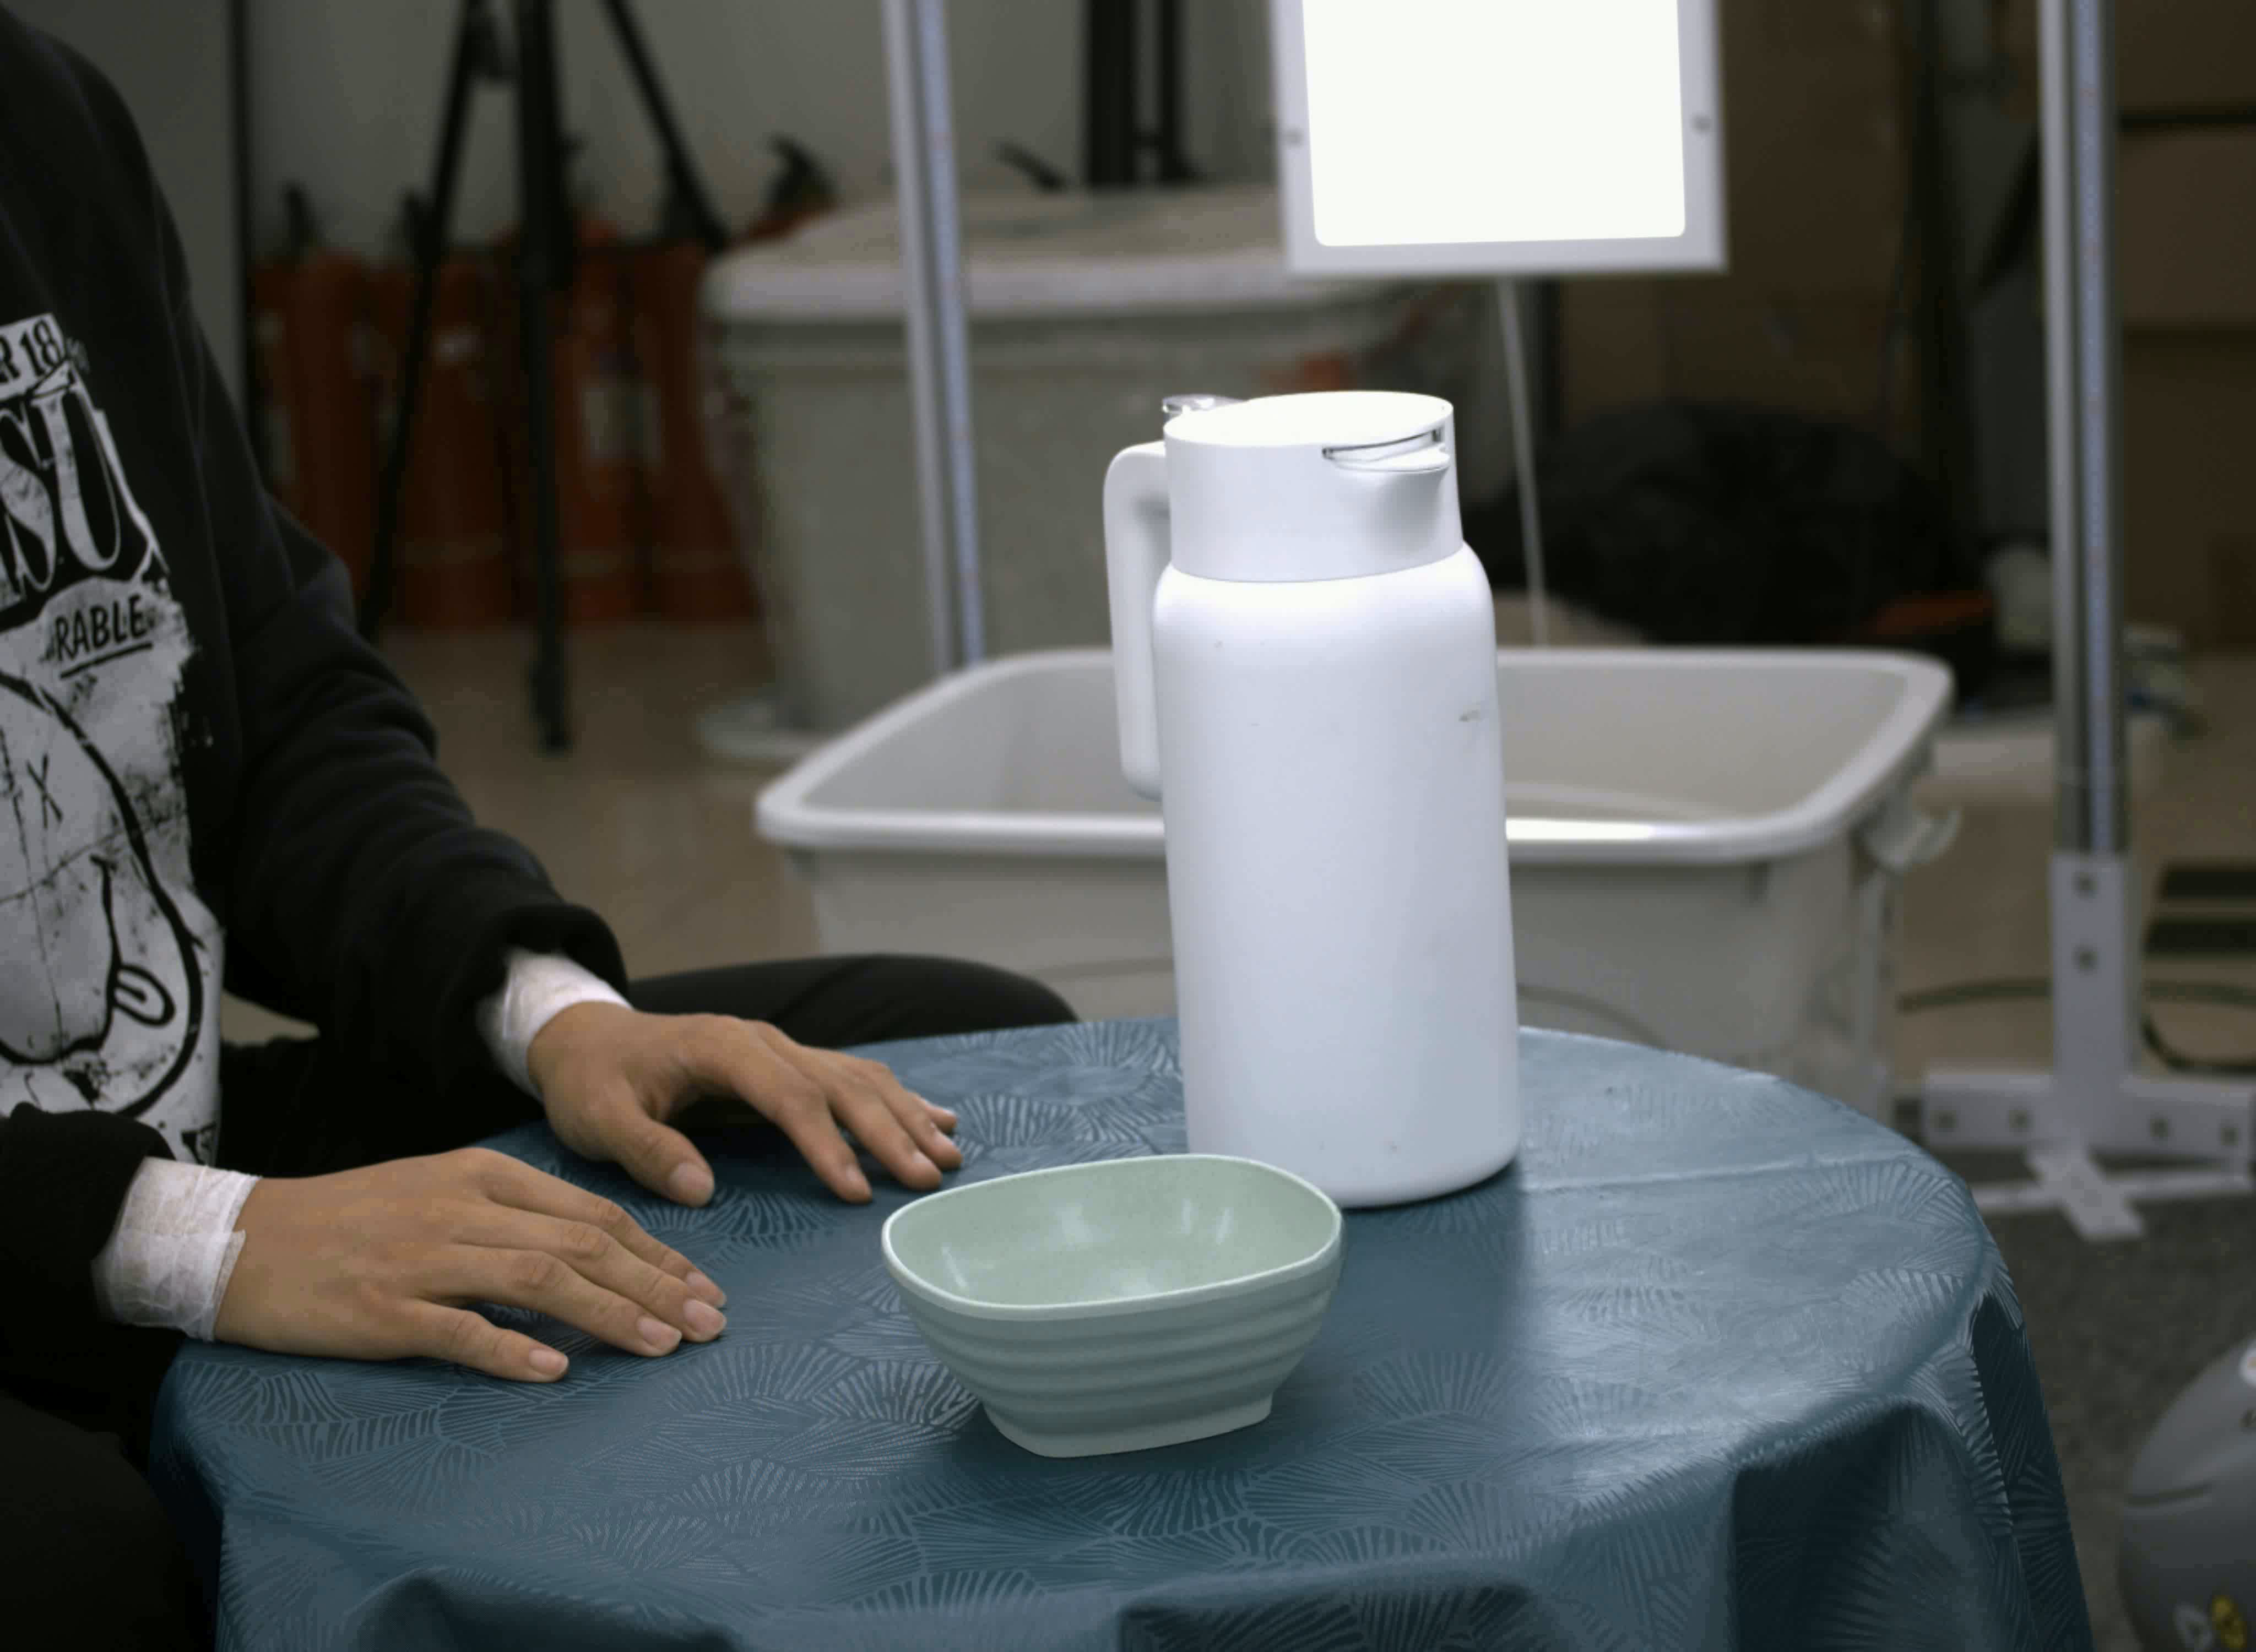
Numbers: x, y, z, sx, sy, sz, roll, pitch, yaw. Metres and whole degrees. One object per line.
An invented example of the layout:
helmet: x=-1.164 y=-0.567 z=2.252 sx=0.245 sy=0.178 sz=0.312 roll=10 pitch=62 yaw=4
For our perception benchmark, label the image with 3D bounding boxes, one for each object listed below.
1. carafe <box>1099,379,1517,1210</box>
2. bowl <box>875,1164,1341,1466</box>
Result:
carafe: x=0.057 y=-0.013 z=1.886 sx=0.121 sy=0.270 sz=0.176 roll=-17 pitch=18 yaw=-34
bowl: x=-0.005 y=0.153 z=1.685 sx=0.151 sy=0.059 sz=0.151 roll=-5 pitch=13 yaw=0
